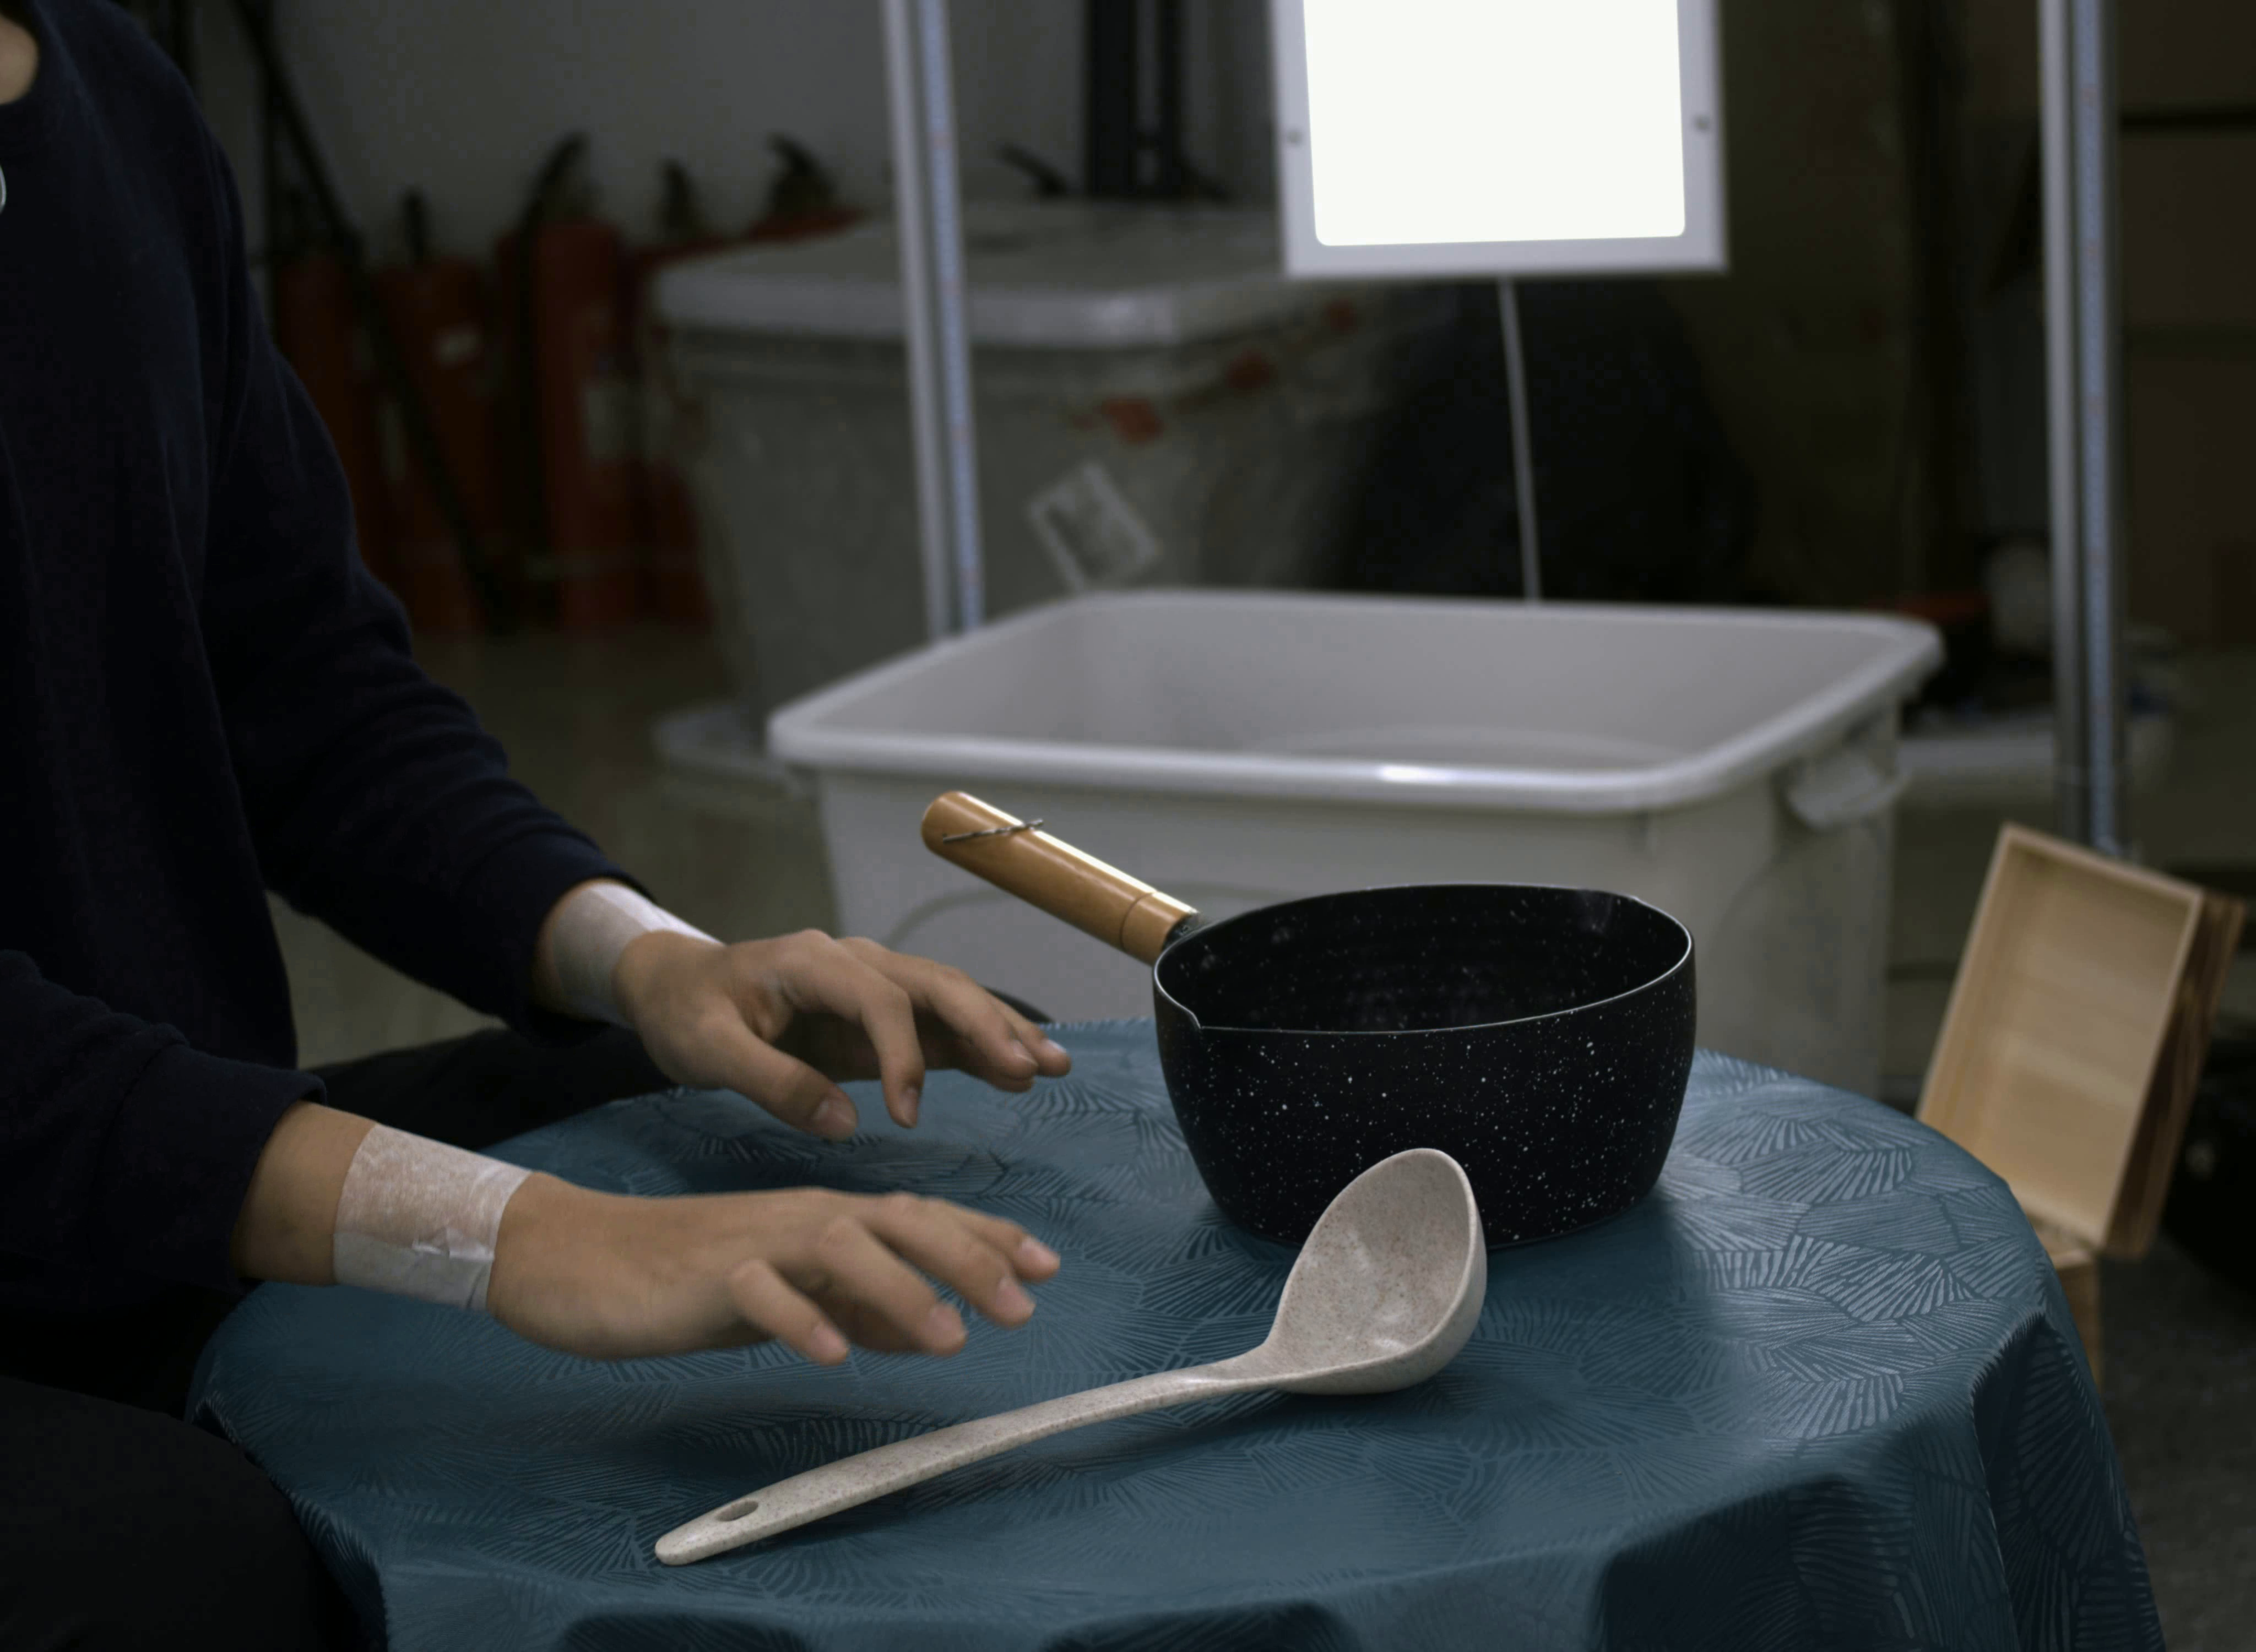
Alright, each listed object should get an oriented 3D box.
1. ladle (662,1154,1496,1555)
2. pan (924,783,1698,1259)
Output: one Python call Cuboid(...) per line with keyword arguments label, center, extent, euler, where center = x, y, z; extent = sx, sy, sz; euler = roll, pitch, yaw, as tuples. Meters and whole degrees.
Cuboid(label="ladle", center=(-0.014, 0.155, 1.636), extent=(0.269, 0.070, 0.091), euler=(-10, 22, -26))
Cuboid(label="pan", center=(0.047, 0.062, 1.917), extent=(0.202, 0.108, 0.350), euler=(-18, 20, -39))
